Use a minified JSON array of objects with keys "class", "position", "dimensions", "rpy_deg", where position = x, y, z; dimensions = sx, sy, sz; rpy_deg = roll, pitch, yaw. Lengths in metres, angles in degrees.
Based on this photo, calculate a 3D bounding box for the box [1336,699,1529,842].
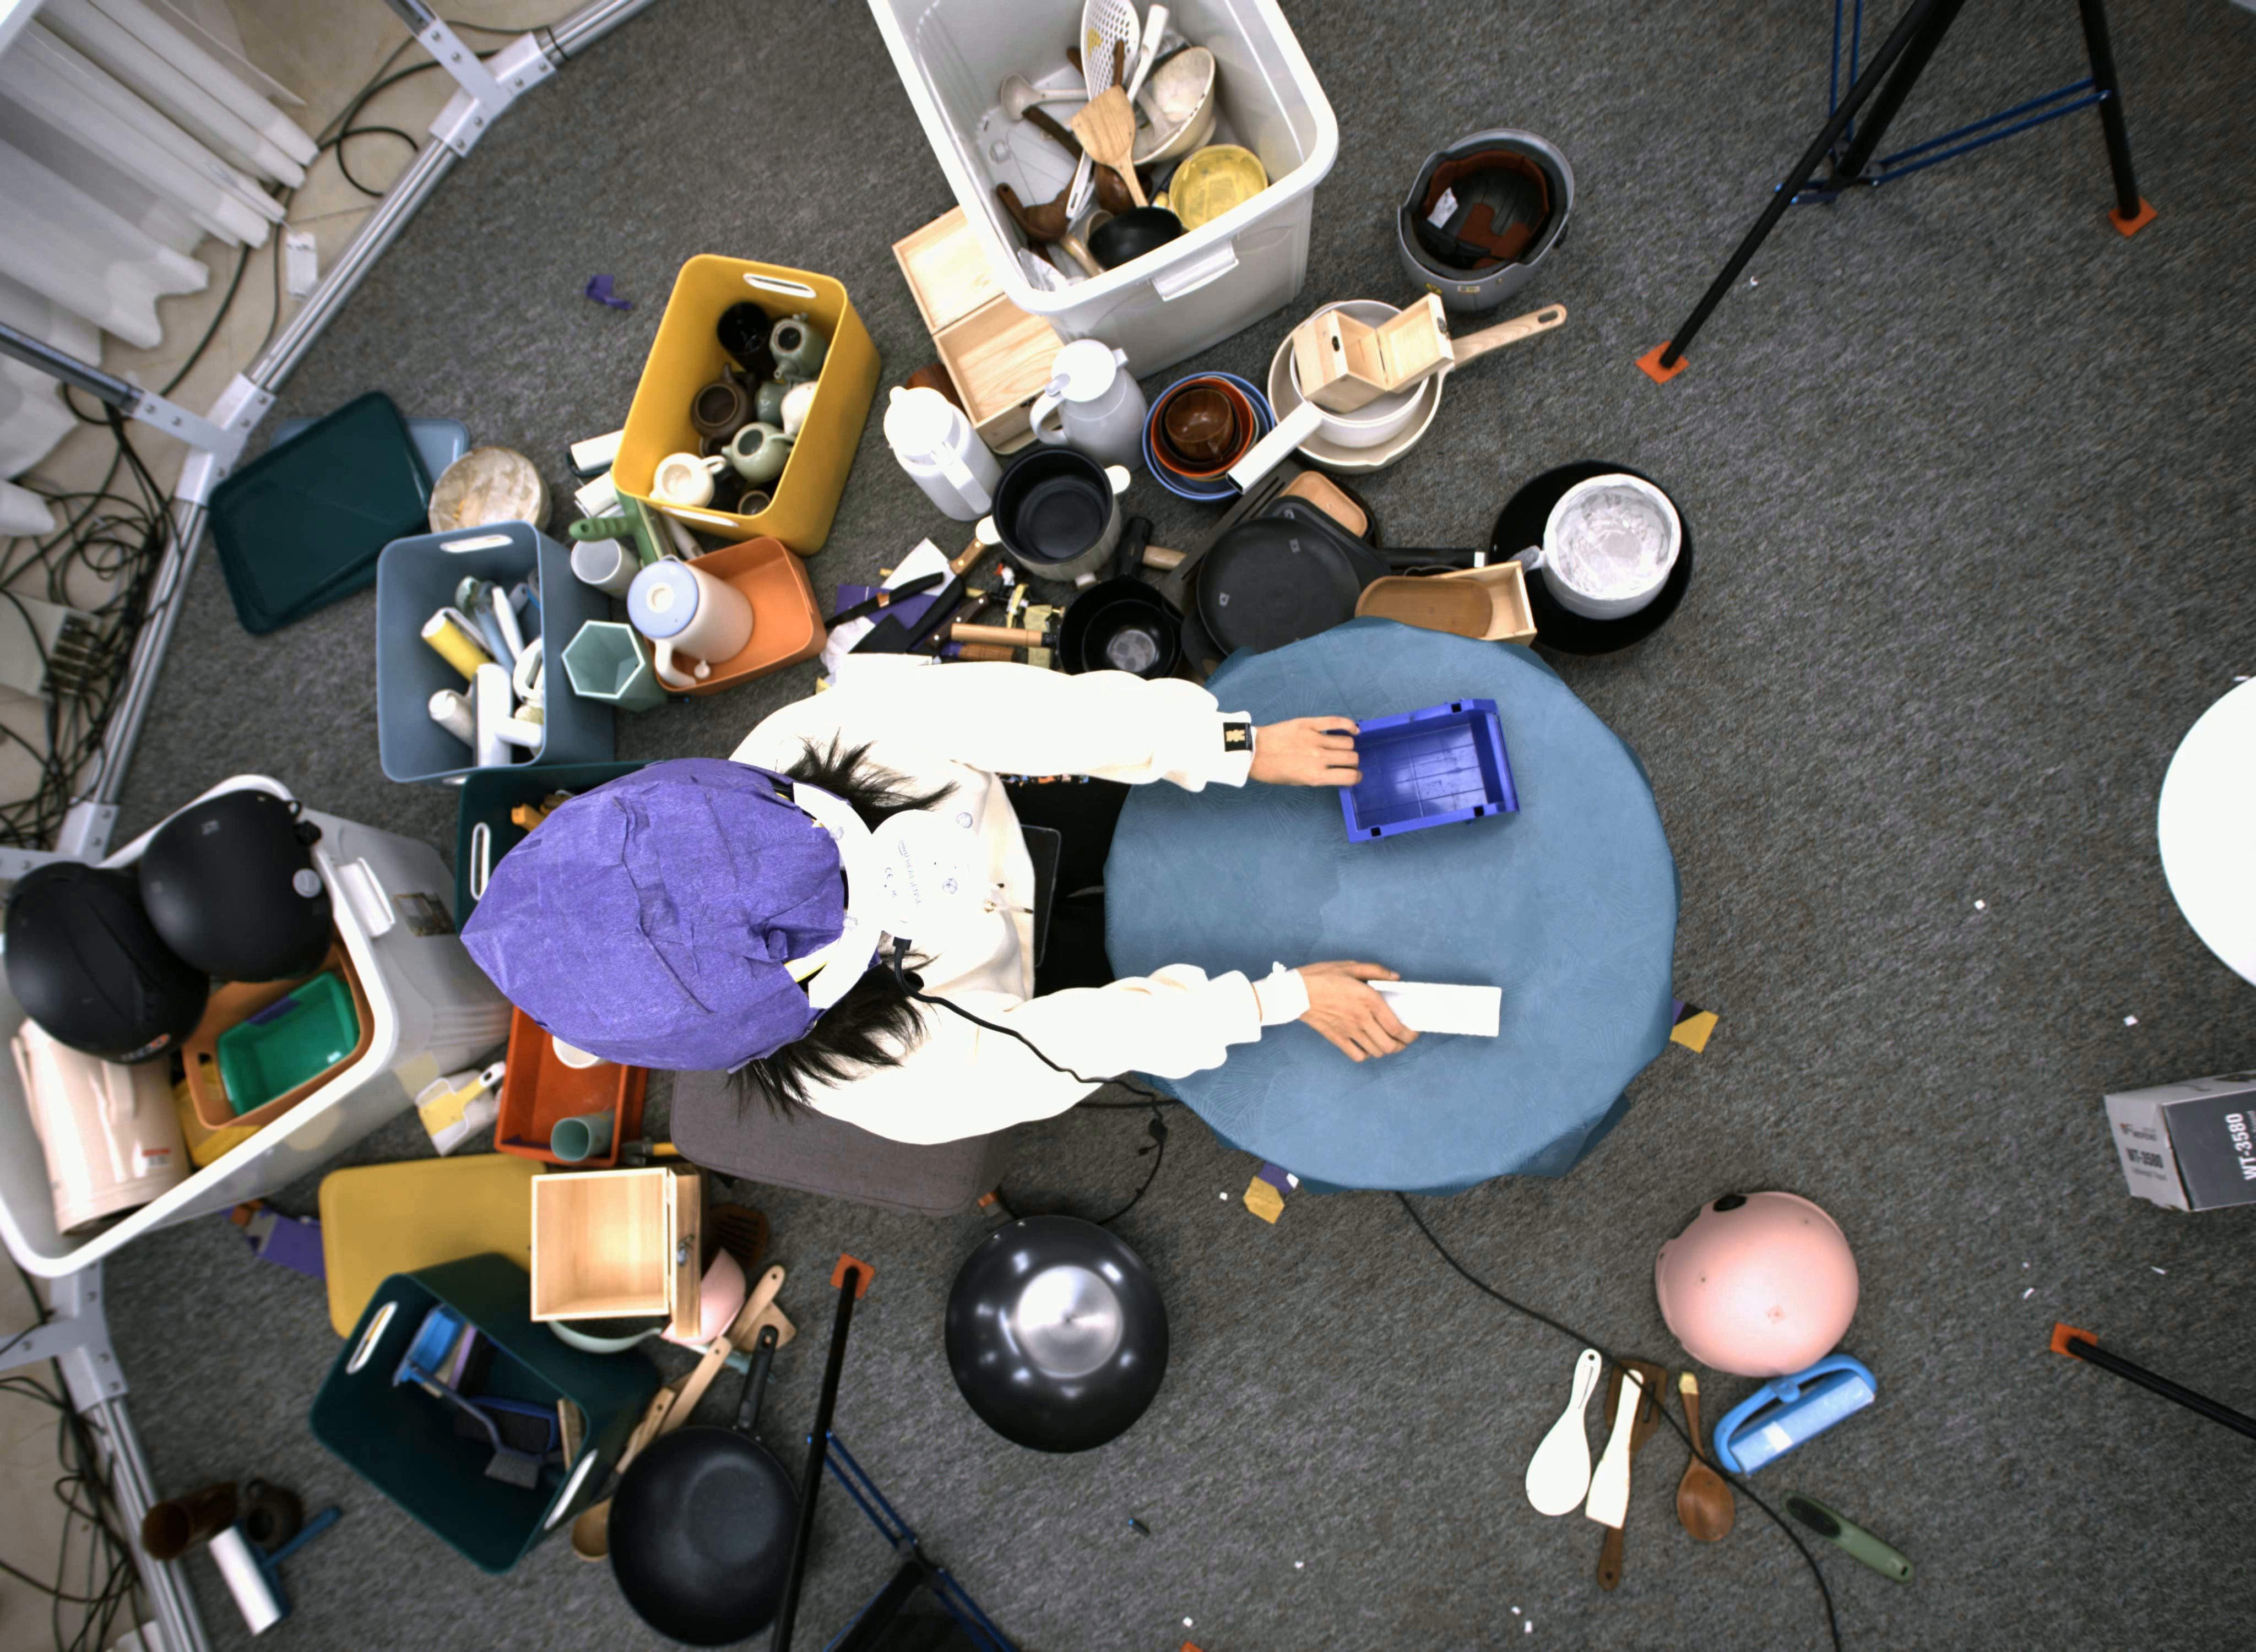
[{"class":"box","position":[0.315,-0.060,1.418],"dimensions":[0.180,0.082,0.124],"rpy_deg":[-10,84,12]}]

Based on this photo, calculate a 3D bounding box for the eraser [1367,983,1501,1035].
[{"class":"eraser","position":[0.314,0.186,1.421],"dimensions":[0.135,0.046,0.049],"rpy_deg":[0,89,9]}]
